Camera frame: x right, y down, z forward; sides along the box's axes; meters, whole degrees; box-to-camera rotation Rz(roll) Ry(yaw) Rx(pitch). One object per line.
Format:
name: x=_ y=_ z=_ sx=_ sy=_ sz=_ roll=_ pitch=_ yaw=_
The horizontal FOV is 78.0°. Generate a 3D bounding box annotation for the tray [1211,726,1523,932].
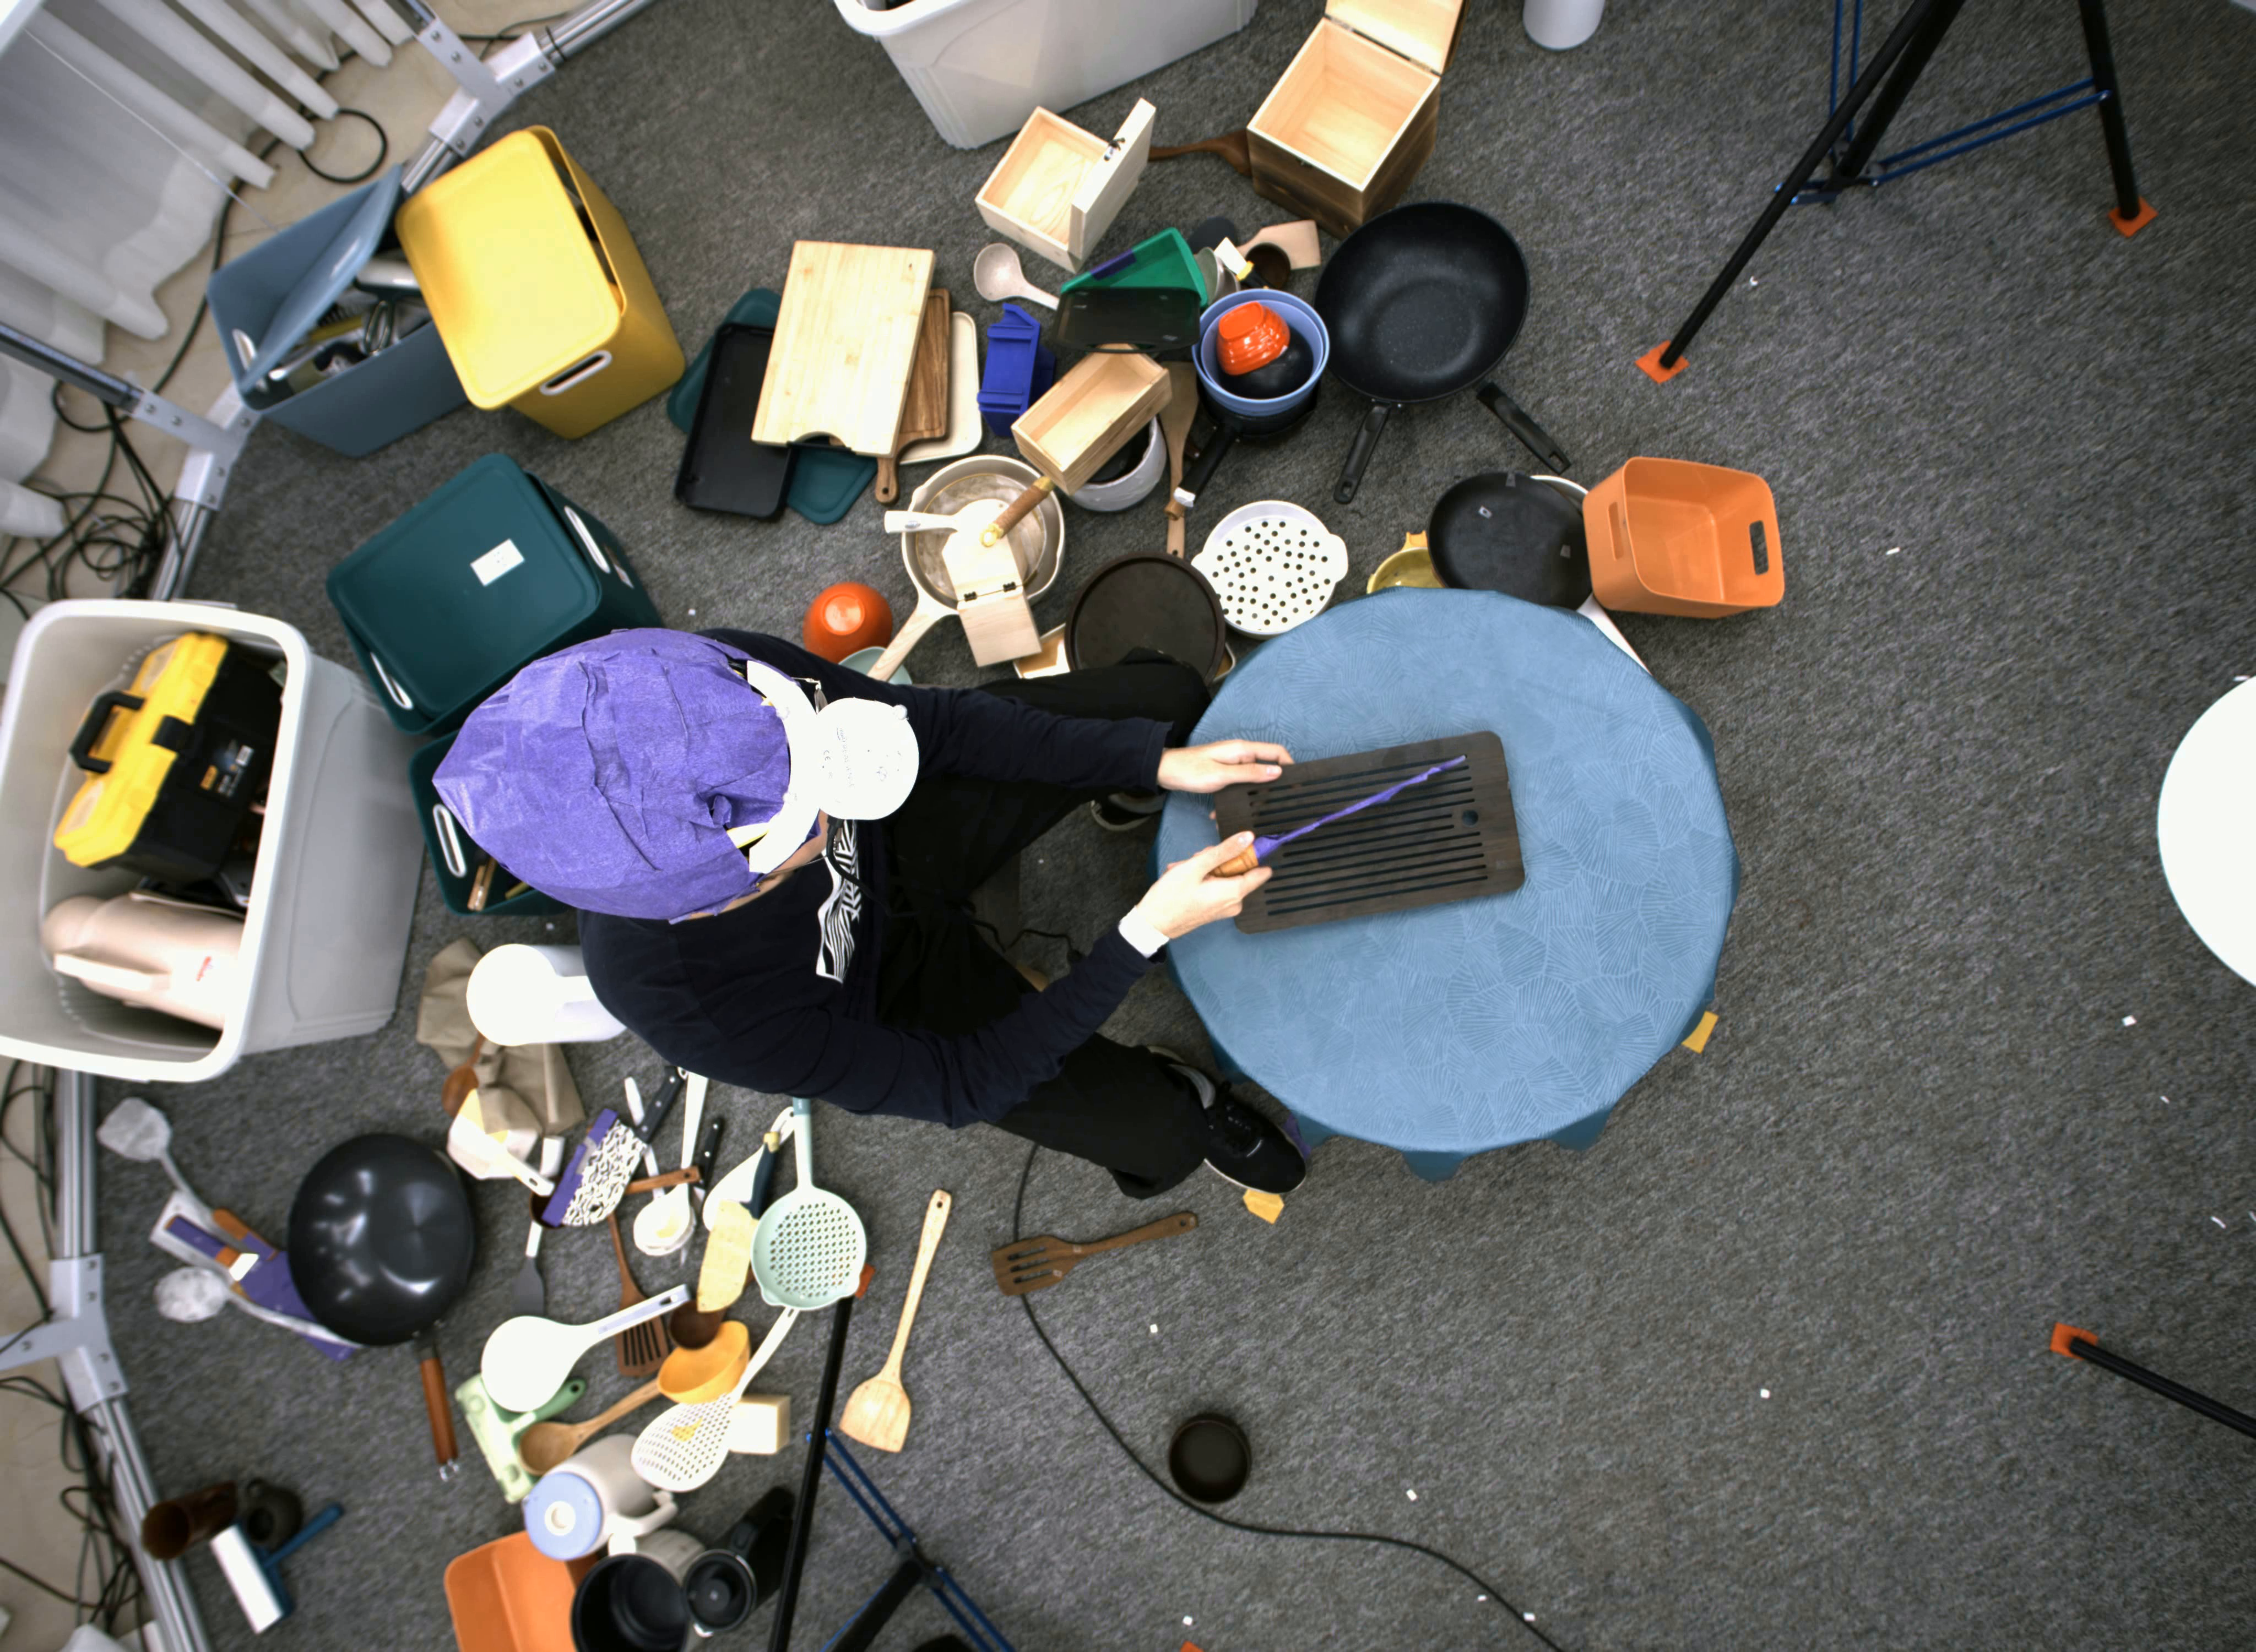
tray: x=0.248 y=0.002 z=1.442 sx=0.307 sy=0.018 sz=0.170 roll=-10 pitch=91 yaw=7

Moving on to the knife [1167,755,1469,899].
knife: x=0.190 y=-0.002 z=1.375 sx=0.317 sy=0.103 sz=0.032 roll=-23 pitch=88 yaw=10
